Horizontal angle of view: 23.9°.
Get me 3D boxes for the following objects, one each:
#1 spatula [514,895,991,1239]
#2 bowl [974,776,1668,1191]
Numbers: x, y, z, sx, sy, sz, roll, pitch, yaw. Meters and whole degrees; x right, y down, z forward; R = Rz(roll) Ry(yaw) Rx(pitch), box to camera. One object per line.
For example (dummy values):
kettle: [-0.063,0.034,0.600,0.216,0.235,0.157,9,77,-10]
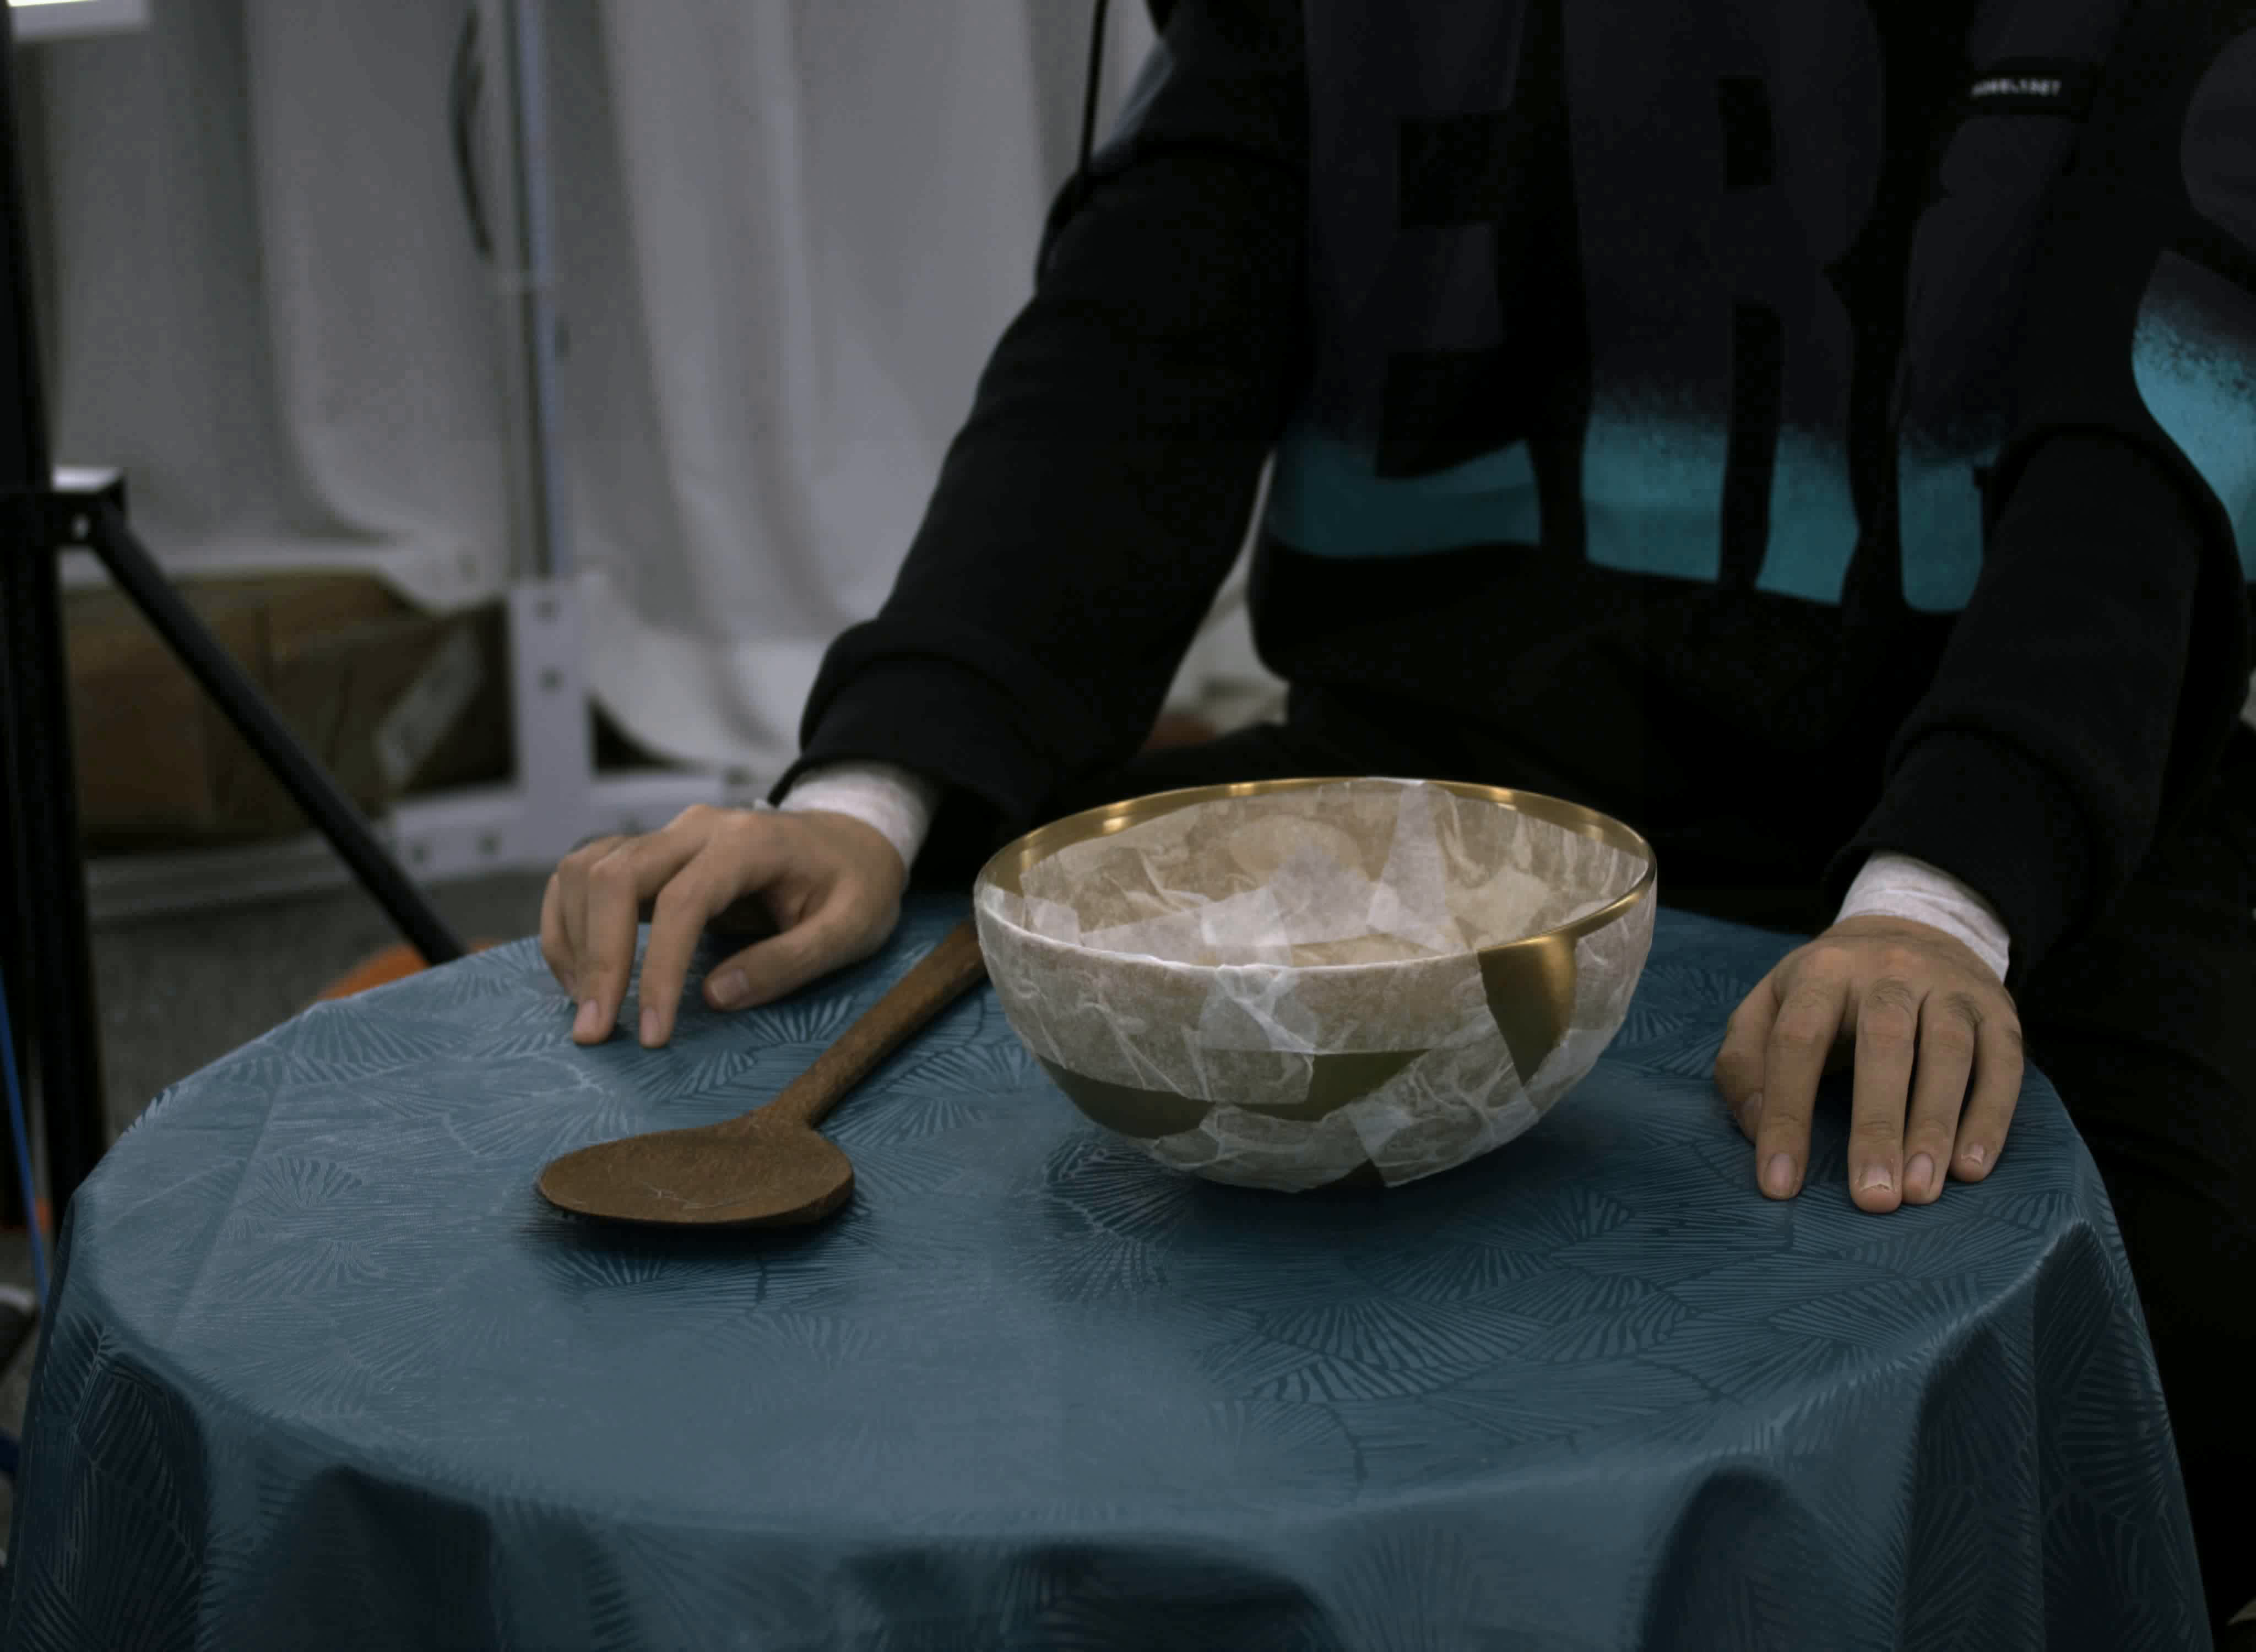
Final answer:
spatula: [-0.080,0.066,1.695,0.097,0.016,0.381,3,17,19]
bowl: [0.060,0.054,1.569,0.213,0.094,0.216,-4,14,-1]
